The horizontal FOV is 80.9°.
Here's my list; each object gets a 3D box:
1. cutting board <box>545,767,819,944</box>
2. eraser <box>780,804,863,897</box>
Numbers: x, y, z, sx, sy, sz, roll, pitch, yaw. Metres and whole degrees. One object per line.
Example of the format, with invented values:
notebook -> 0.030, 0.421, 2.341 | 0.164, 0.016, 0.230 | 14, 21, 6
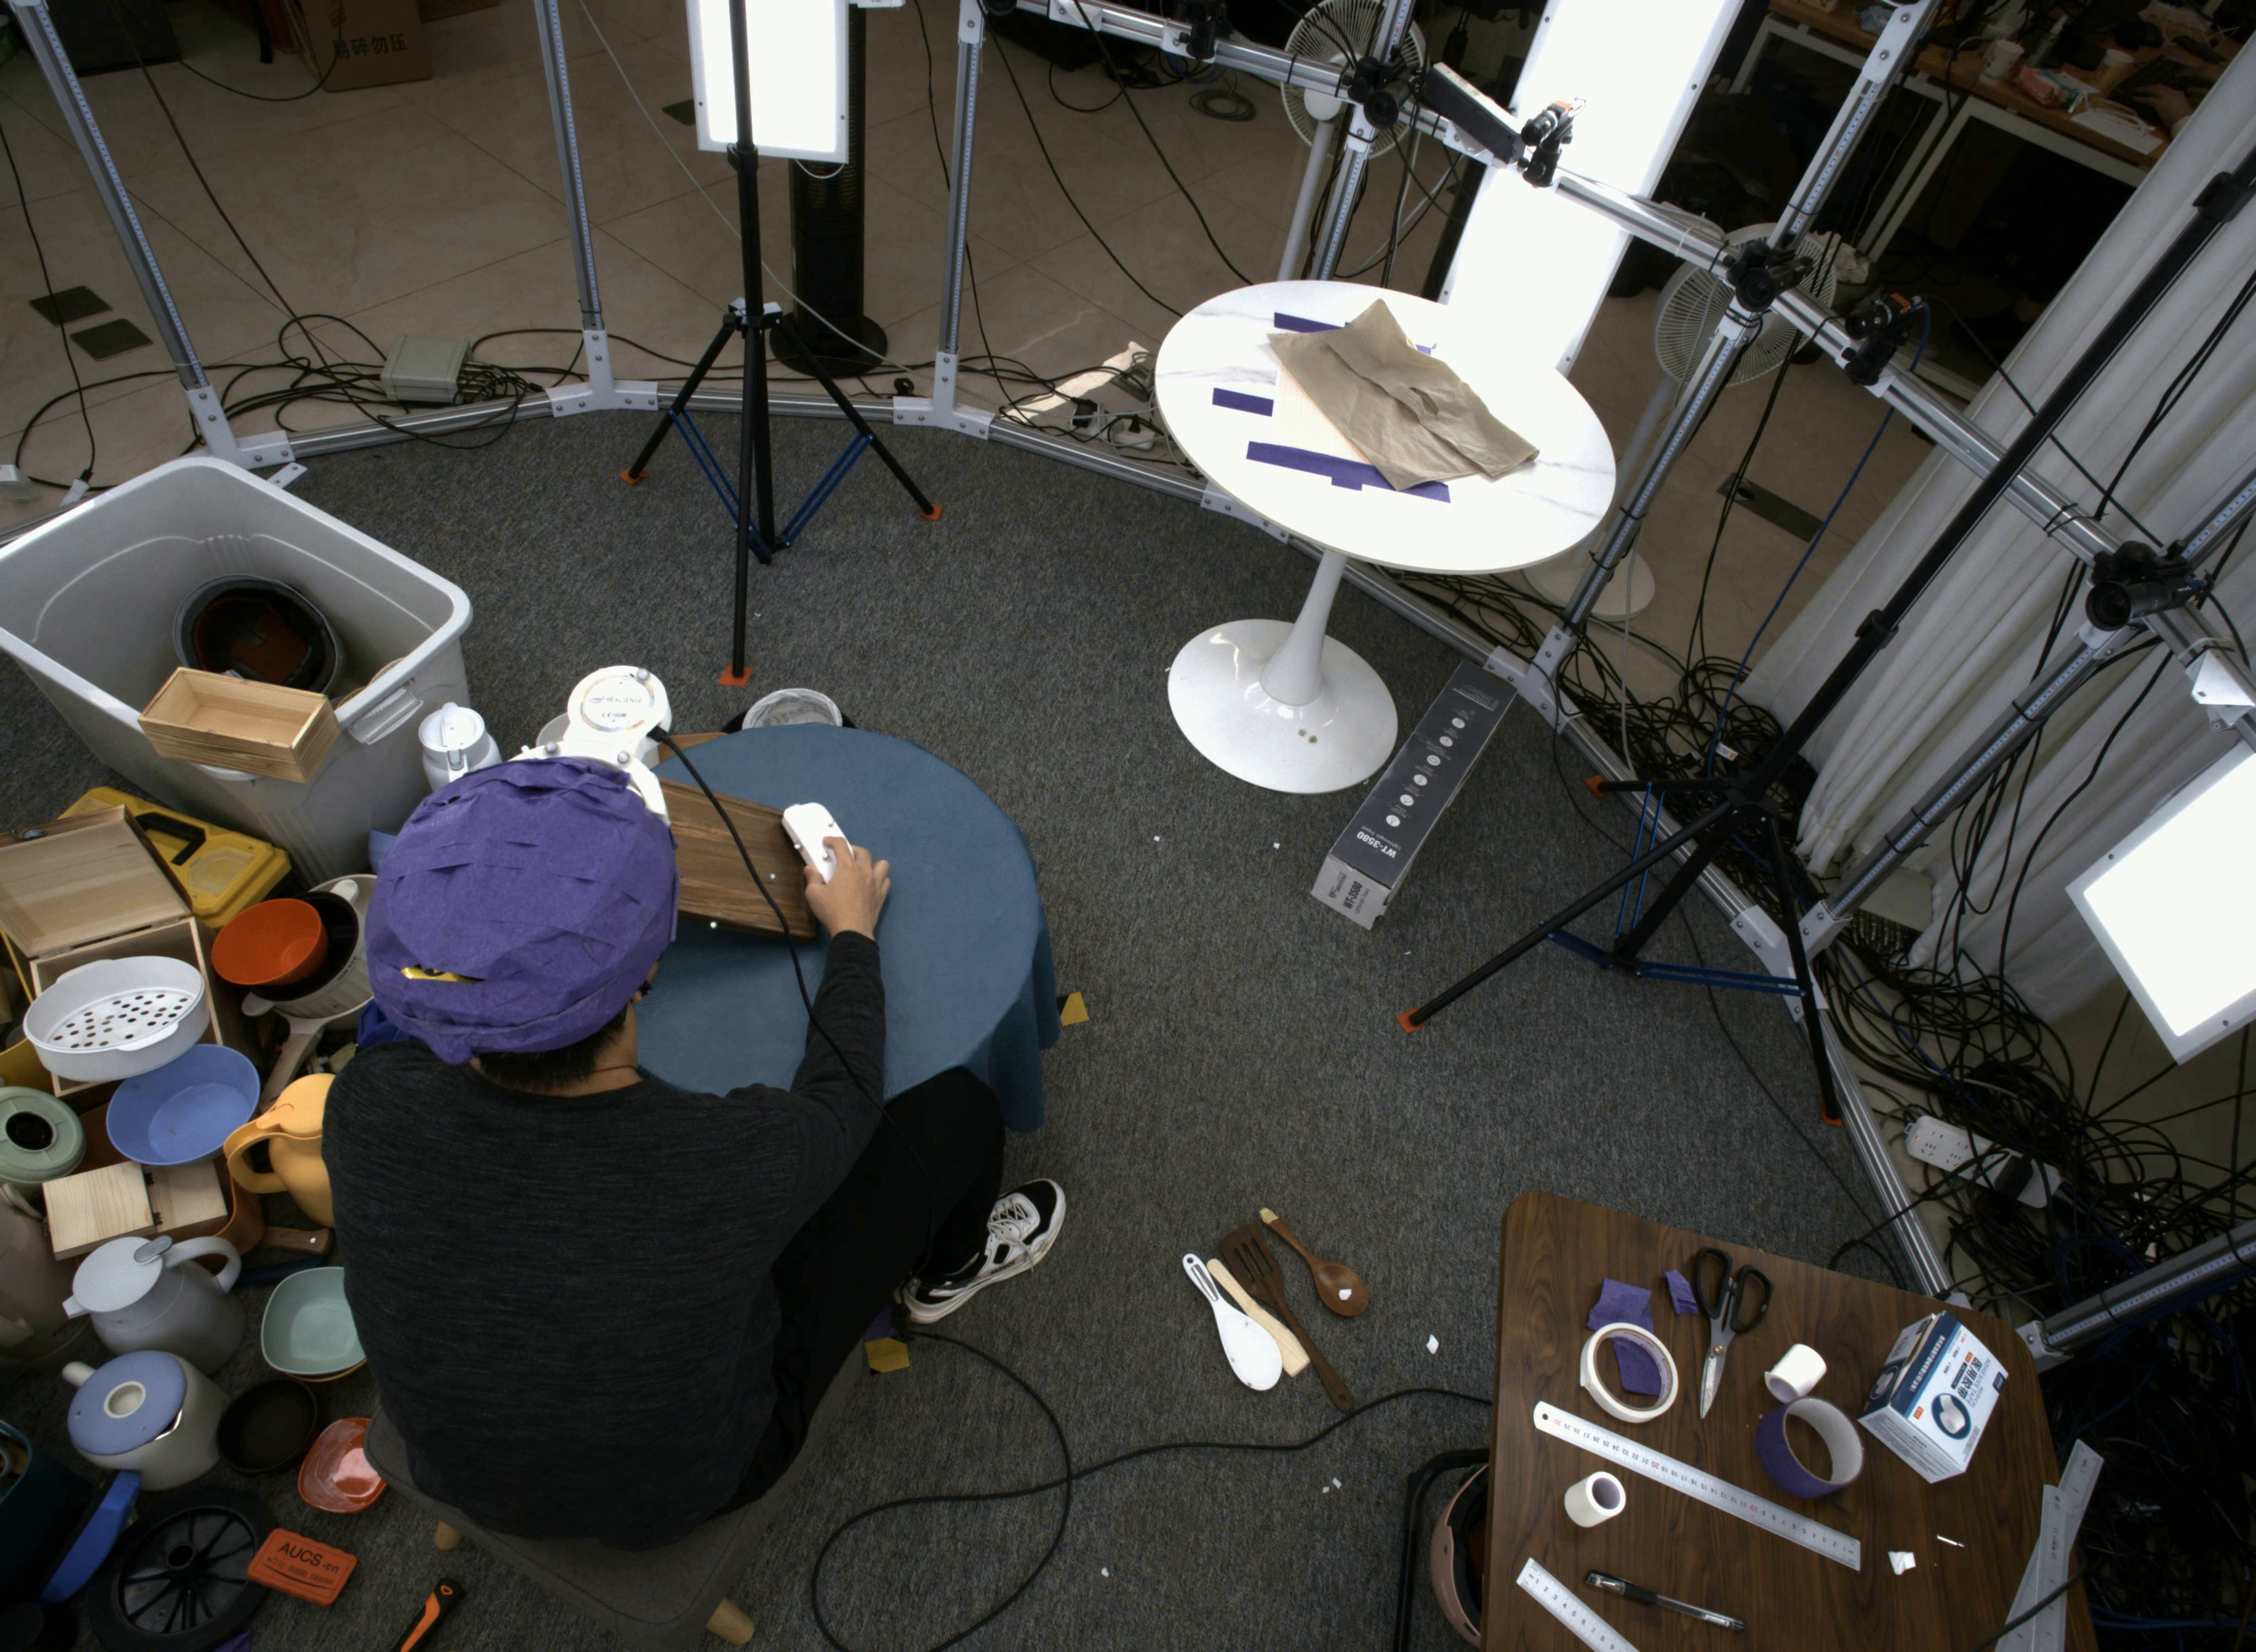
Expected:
cutting board -> -0.542, 0.023, 1.552 | 0.361, 0.023, 0.196 | 18, 44, -38
eraser -> -0.396, 0.028, 1.666 | 0.064, 0.034, 0.129 | -18, 66, -46
